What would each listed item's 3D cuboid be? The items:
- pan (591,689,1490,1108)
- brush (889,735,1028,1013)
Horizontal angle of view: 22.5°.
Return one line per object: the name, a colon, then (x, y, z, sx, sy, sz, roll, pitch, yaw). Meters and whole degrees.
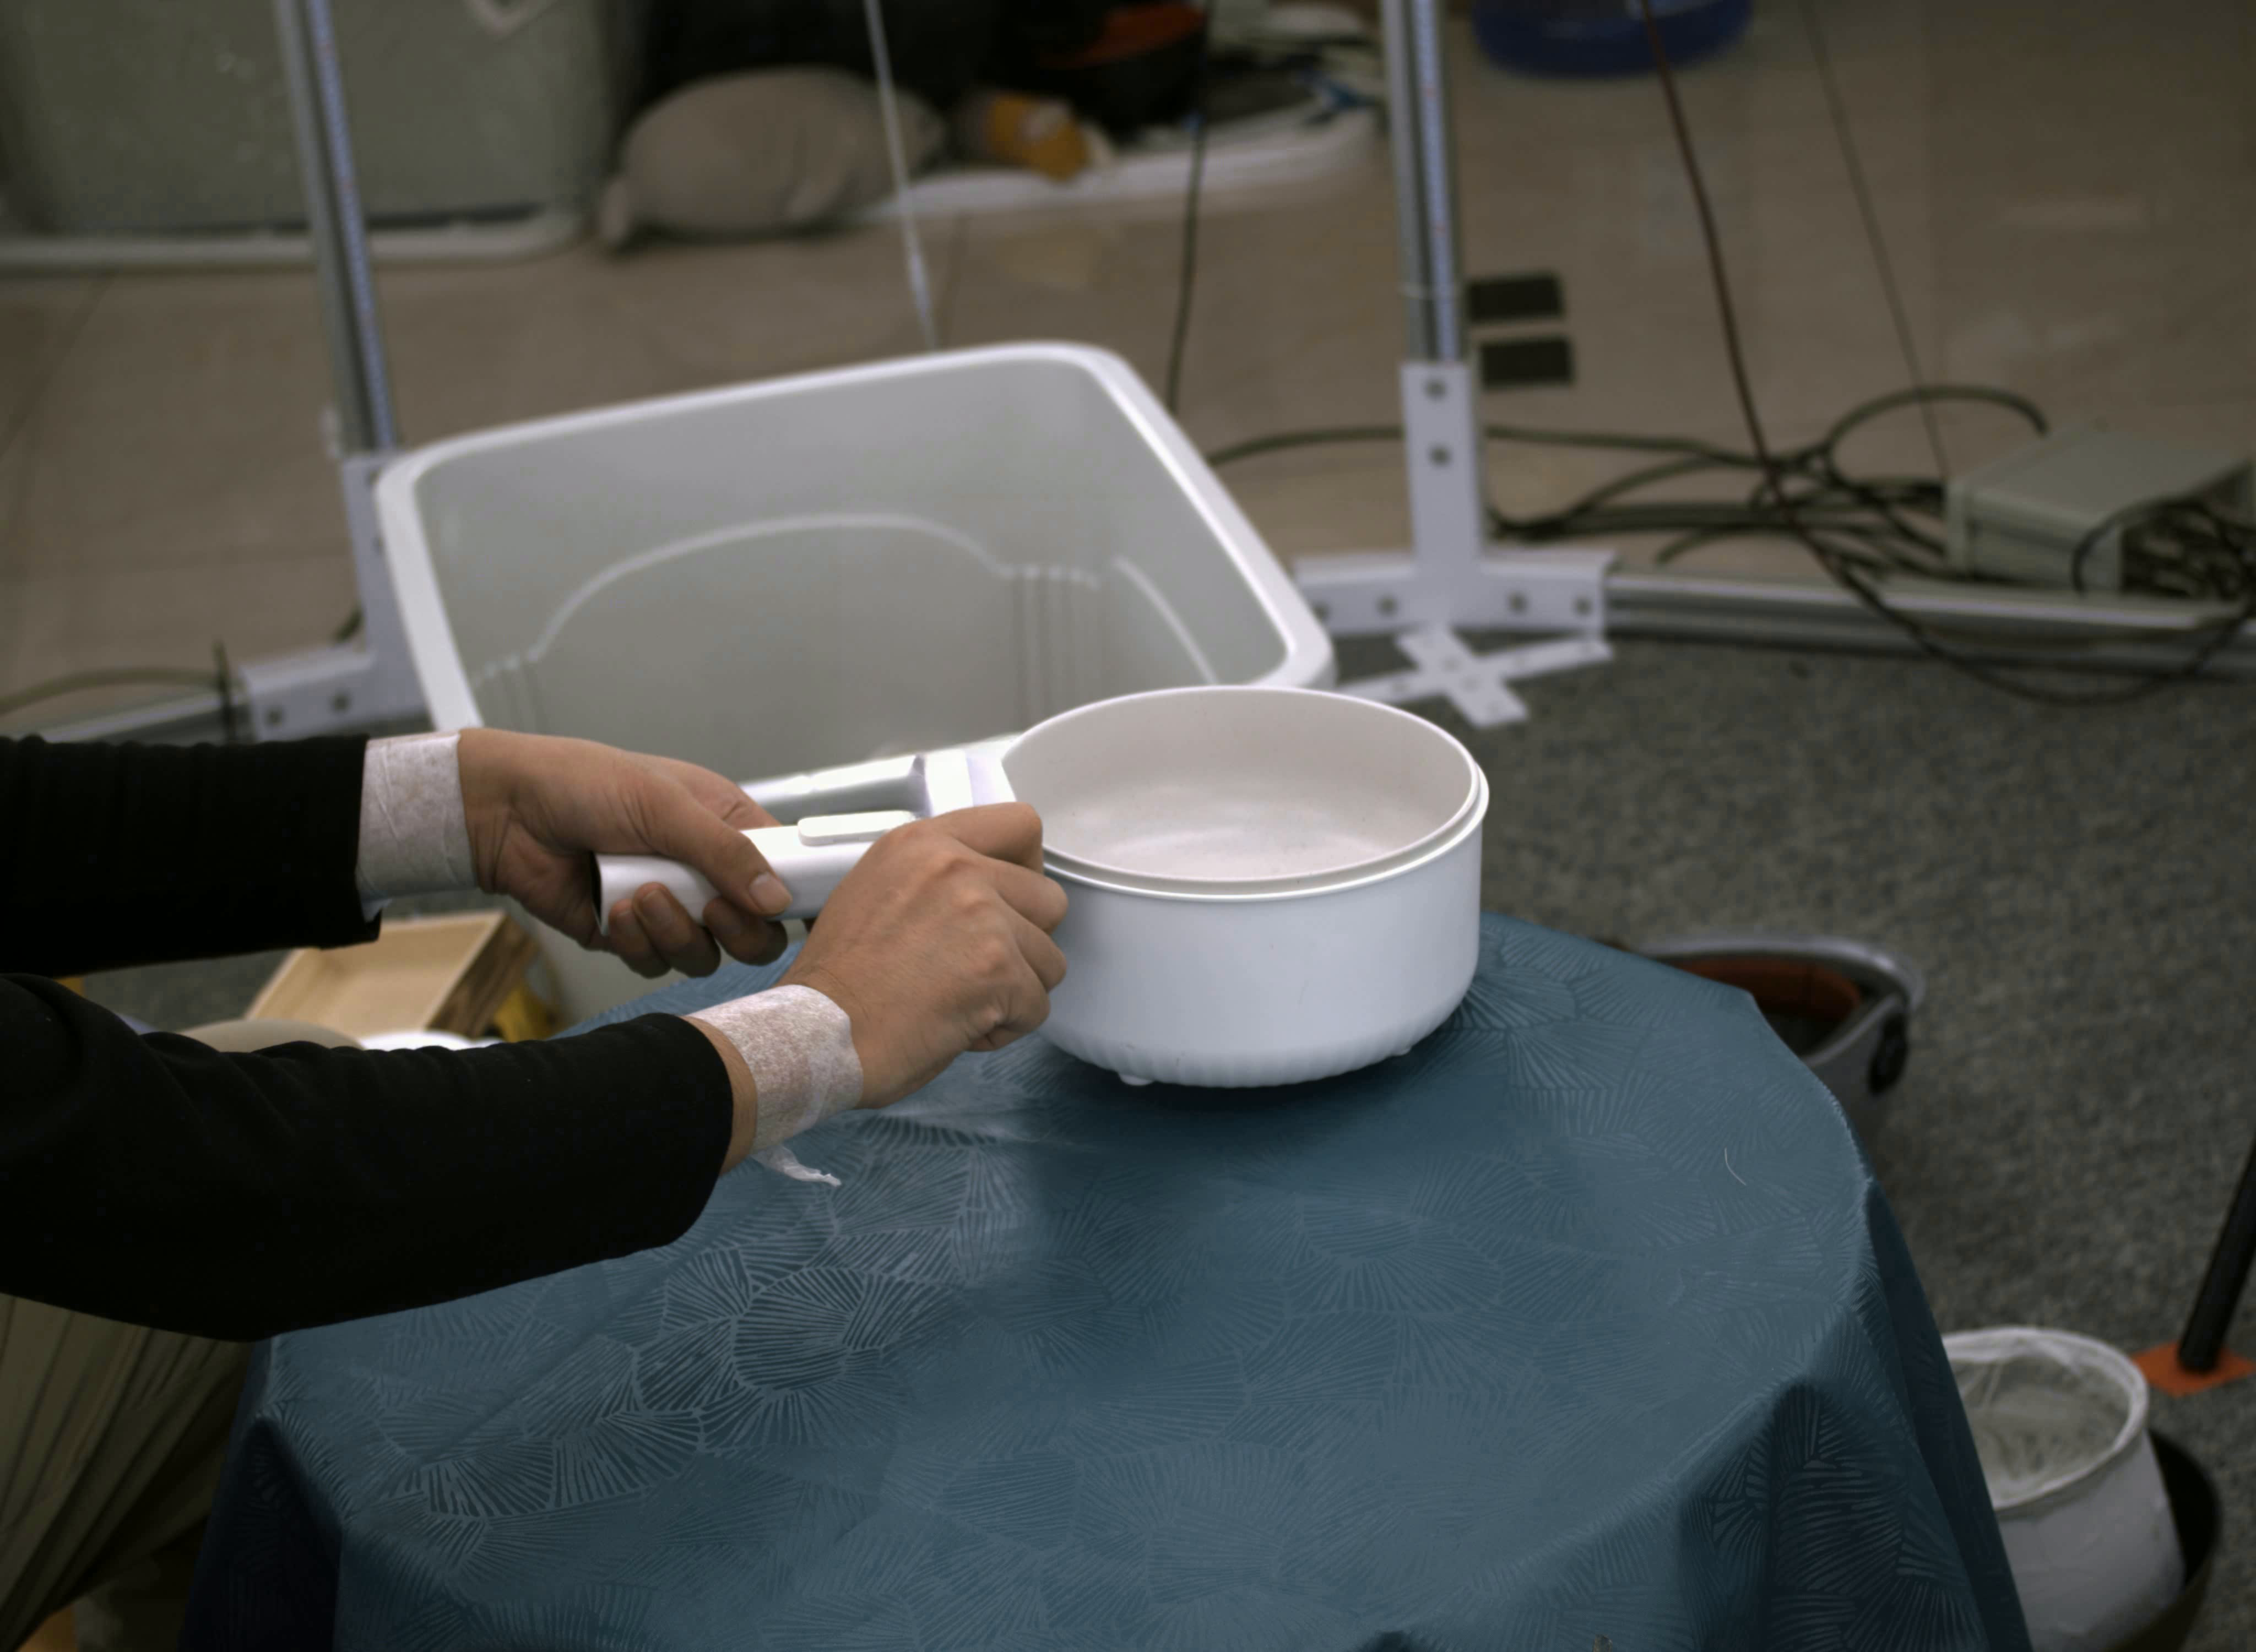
pan: (-0.032, 0.042, 2.232, 0.354, 0.104, 0.198, -7, 28, -11)
brush: (-0.064, 0.011, 2.127, 0.050, 0.074, 0.097, -6, 58, -3)
